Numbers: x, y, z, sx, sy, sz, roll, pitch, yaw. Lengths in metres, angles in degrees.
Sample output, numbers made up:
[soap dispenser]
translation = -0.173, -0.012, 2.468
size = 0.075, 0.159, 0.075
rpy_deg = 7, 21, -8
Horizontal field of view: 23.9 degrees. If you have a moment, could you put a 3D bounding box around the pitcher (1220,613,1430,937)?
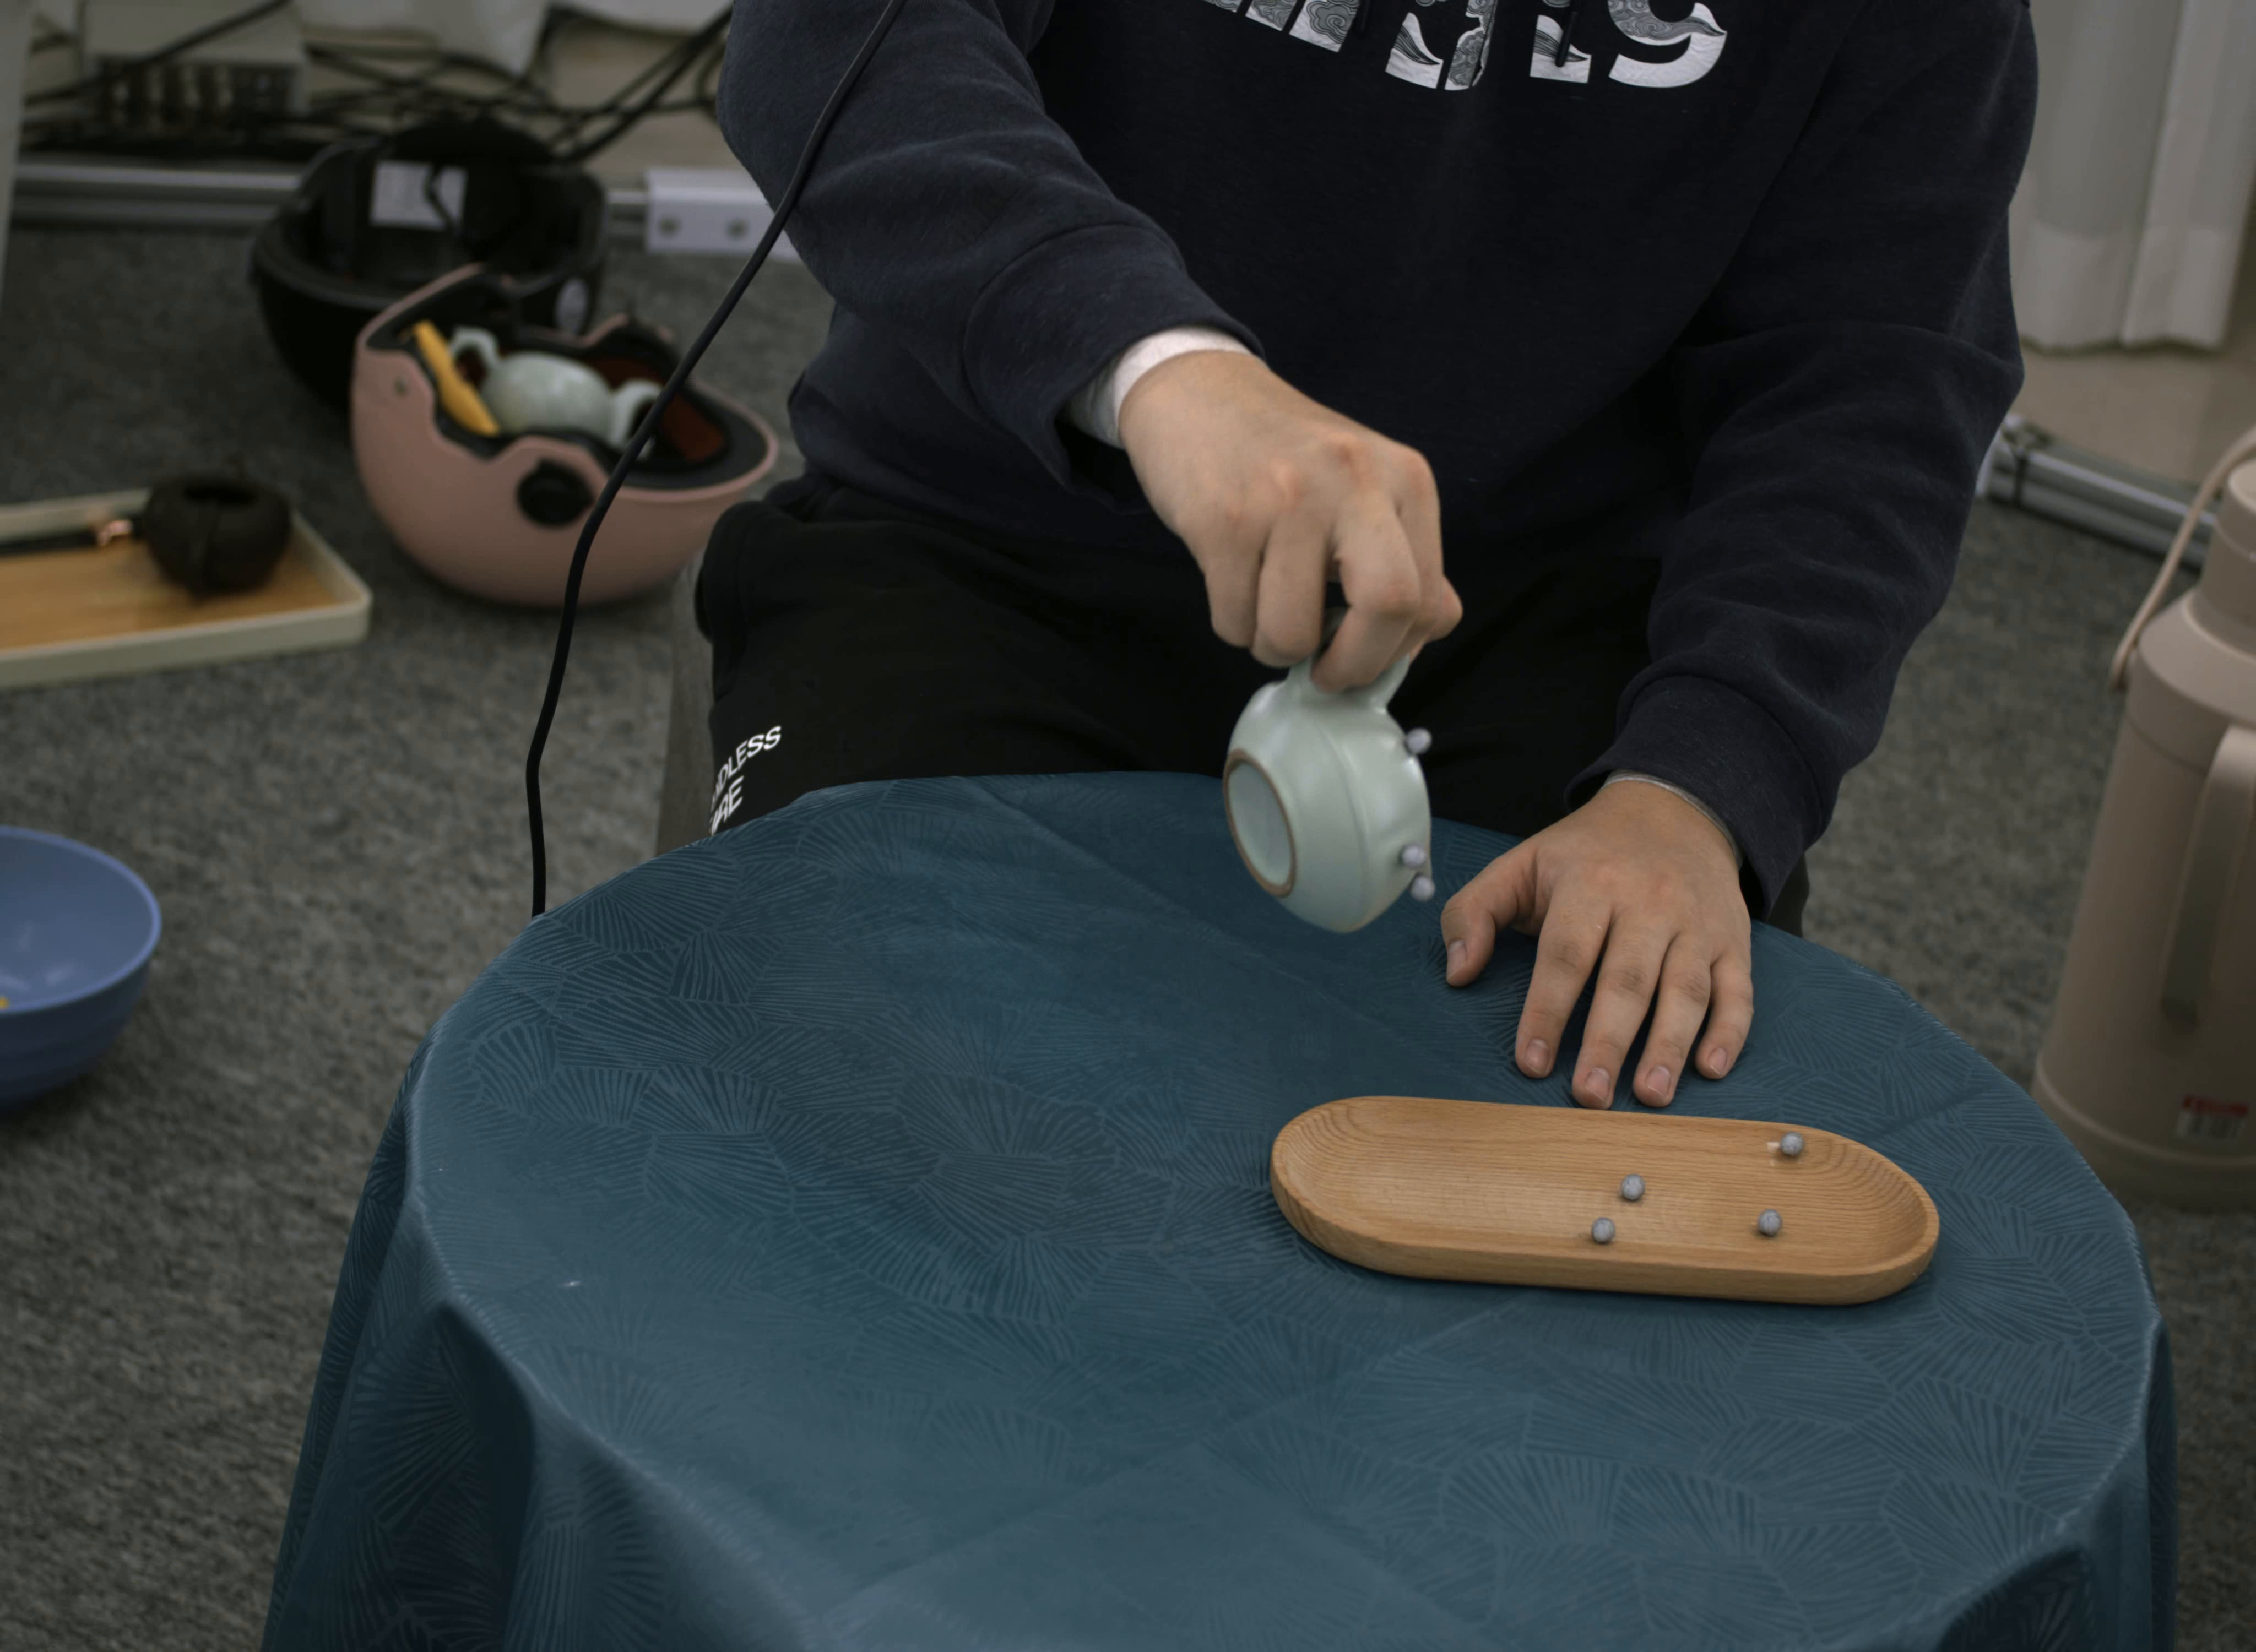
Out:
[pitcher]
translation = 0.065, -0.017, 1.725
size = 0.060, 0.107, 0.087
rpy_deg = -20, 31, -19

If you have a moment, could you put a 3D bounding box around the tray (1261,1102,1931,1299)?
[tray]
translation = 0.160, 0.129, 1.818
size = 0.230, 0.020, 0.102
rpy_deg = 2, 25, -5
